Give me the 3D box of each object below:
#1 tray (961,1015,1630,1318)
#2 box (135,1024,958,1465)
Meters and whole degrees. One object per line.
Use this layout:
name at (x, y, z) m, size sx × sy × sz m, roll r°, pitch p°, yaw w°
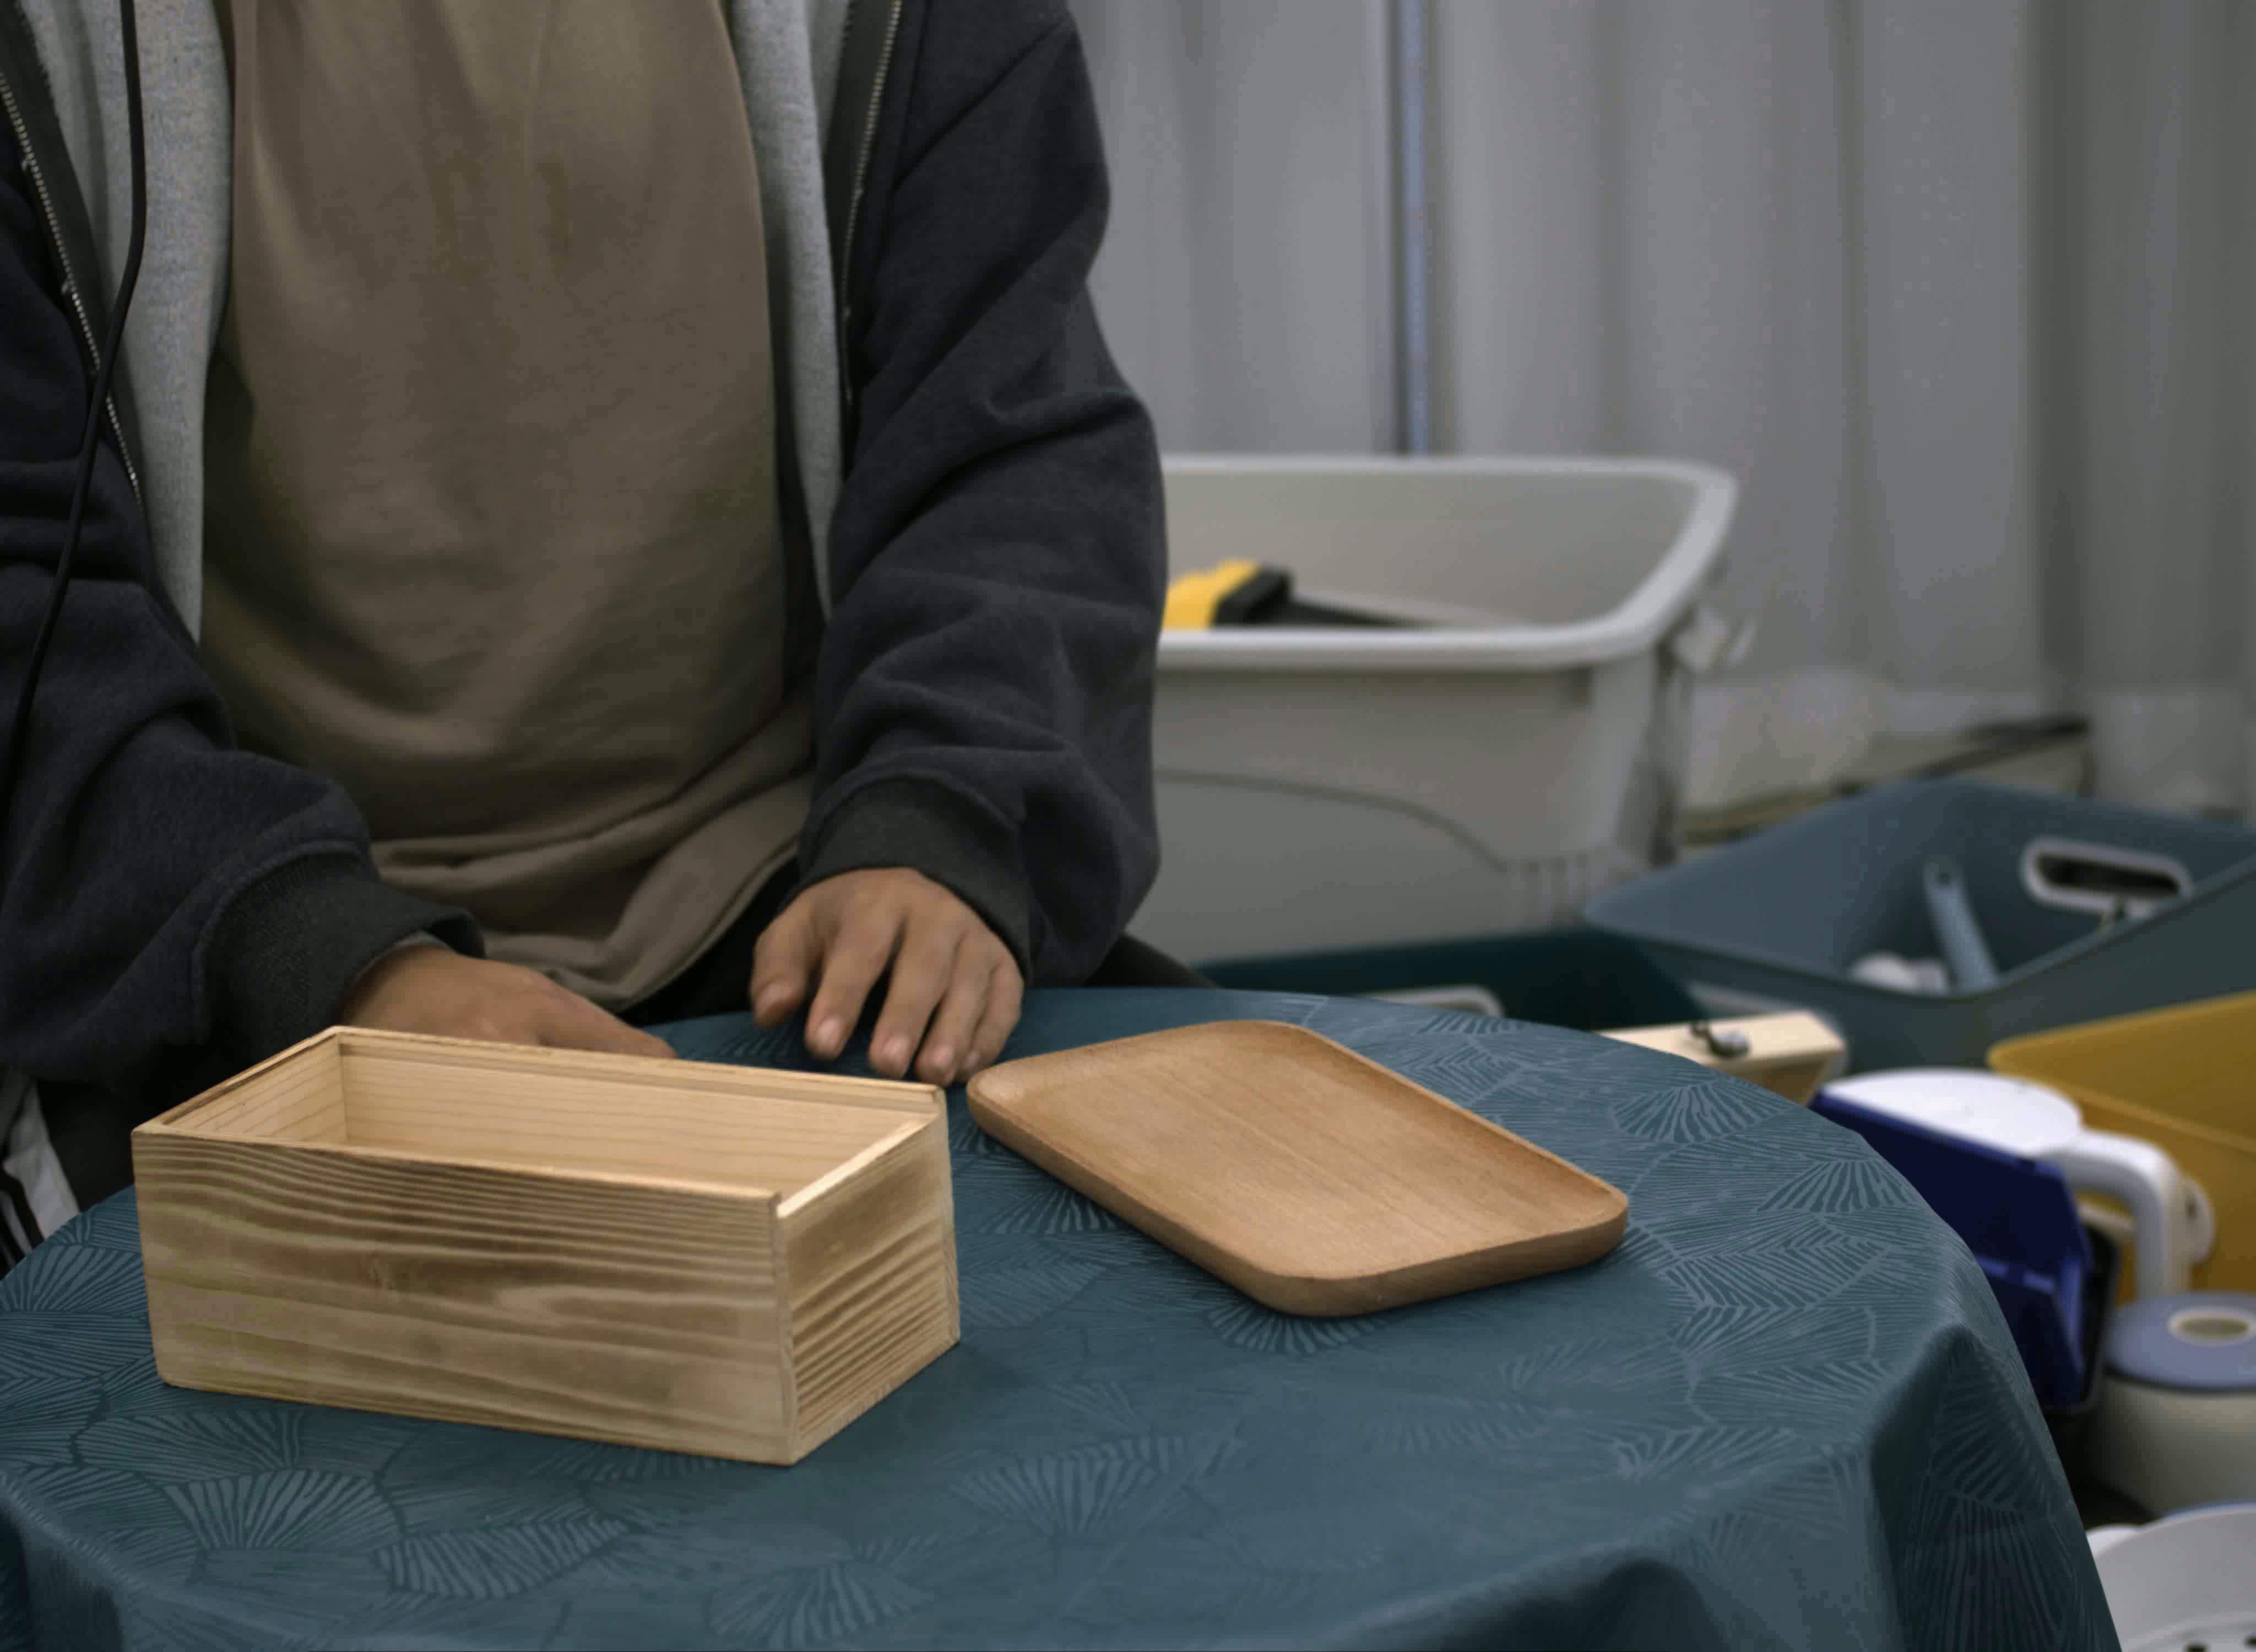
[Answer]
tray at (0.048, 0.104, 1.712) m, size 0.130 × 0.023 × 0.252 m, roll -7°, pitch 15°, yaw -25°
box at (-0.167, 0.118, 1.583) m, size 0.212 × 0.080 × 0.108 m, roll 4°, pitch 16°, yaw 25°
